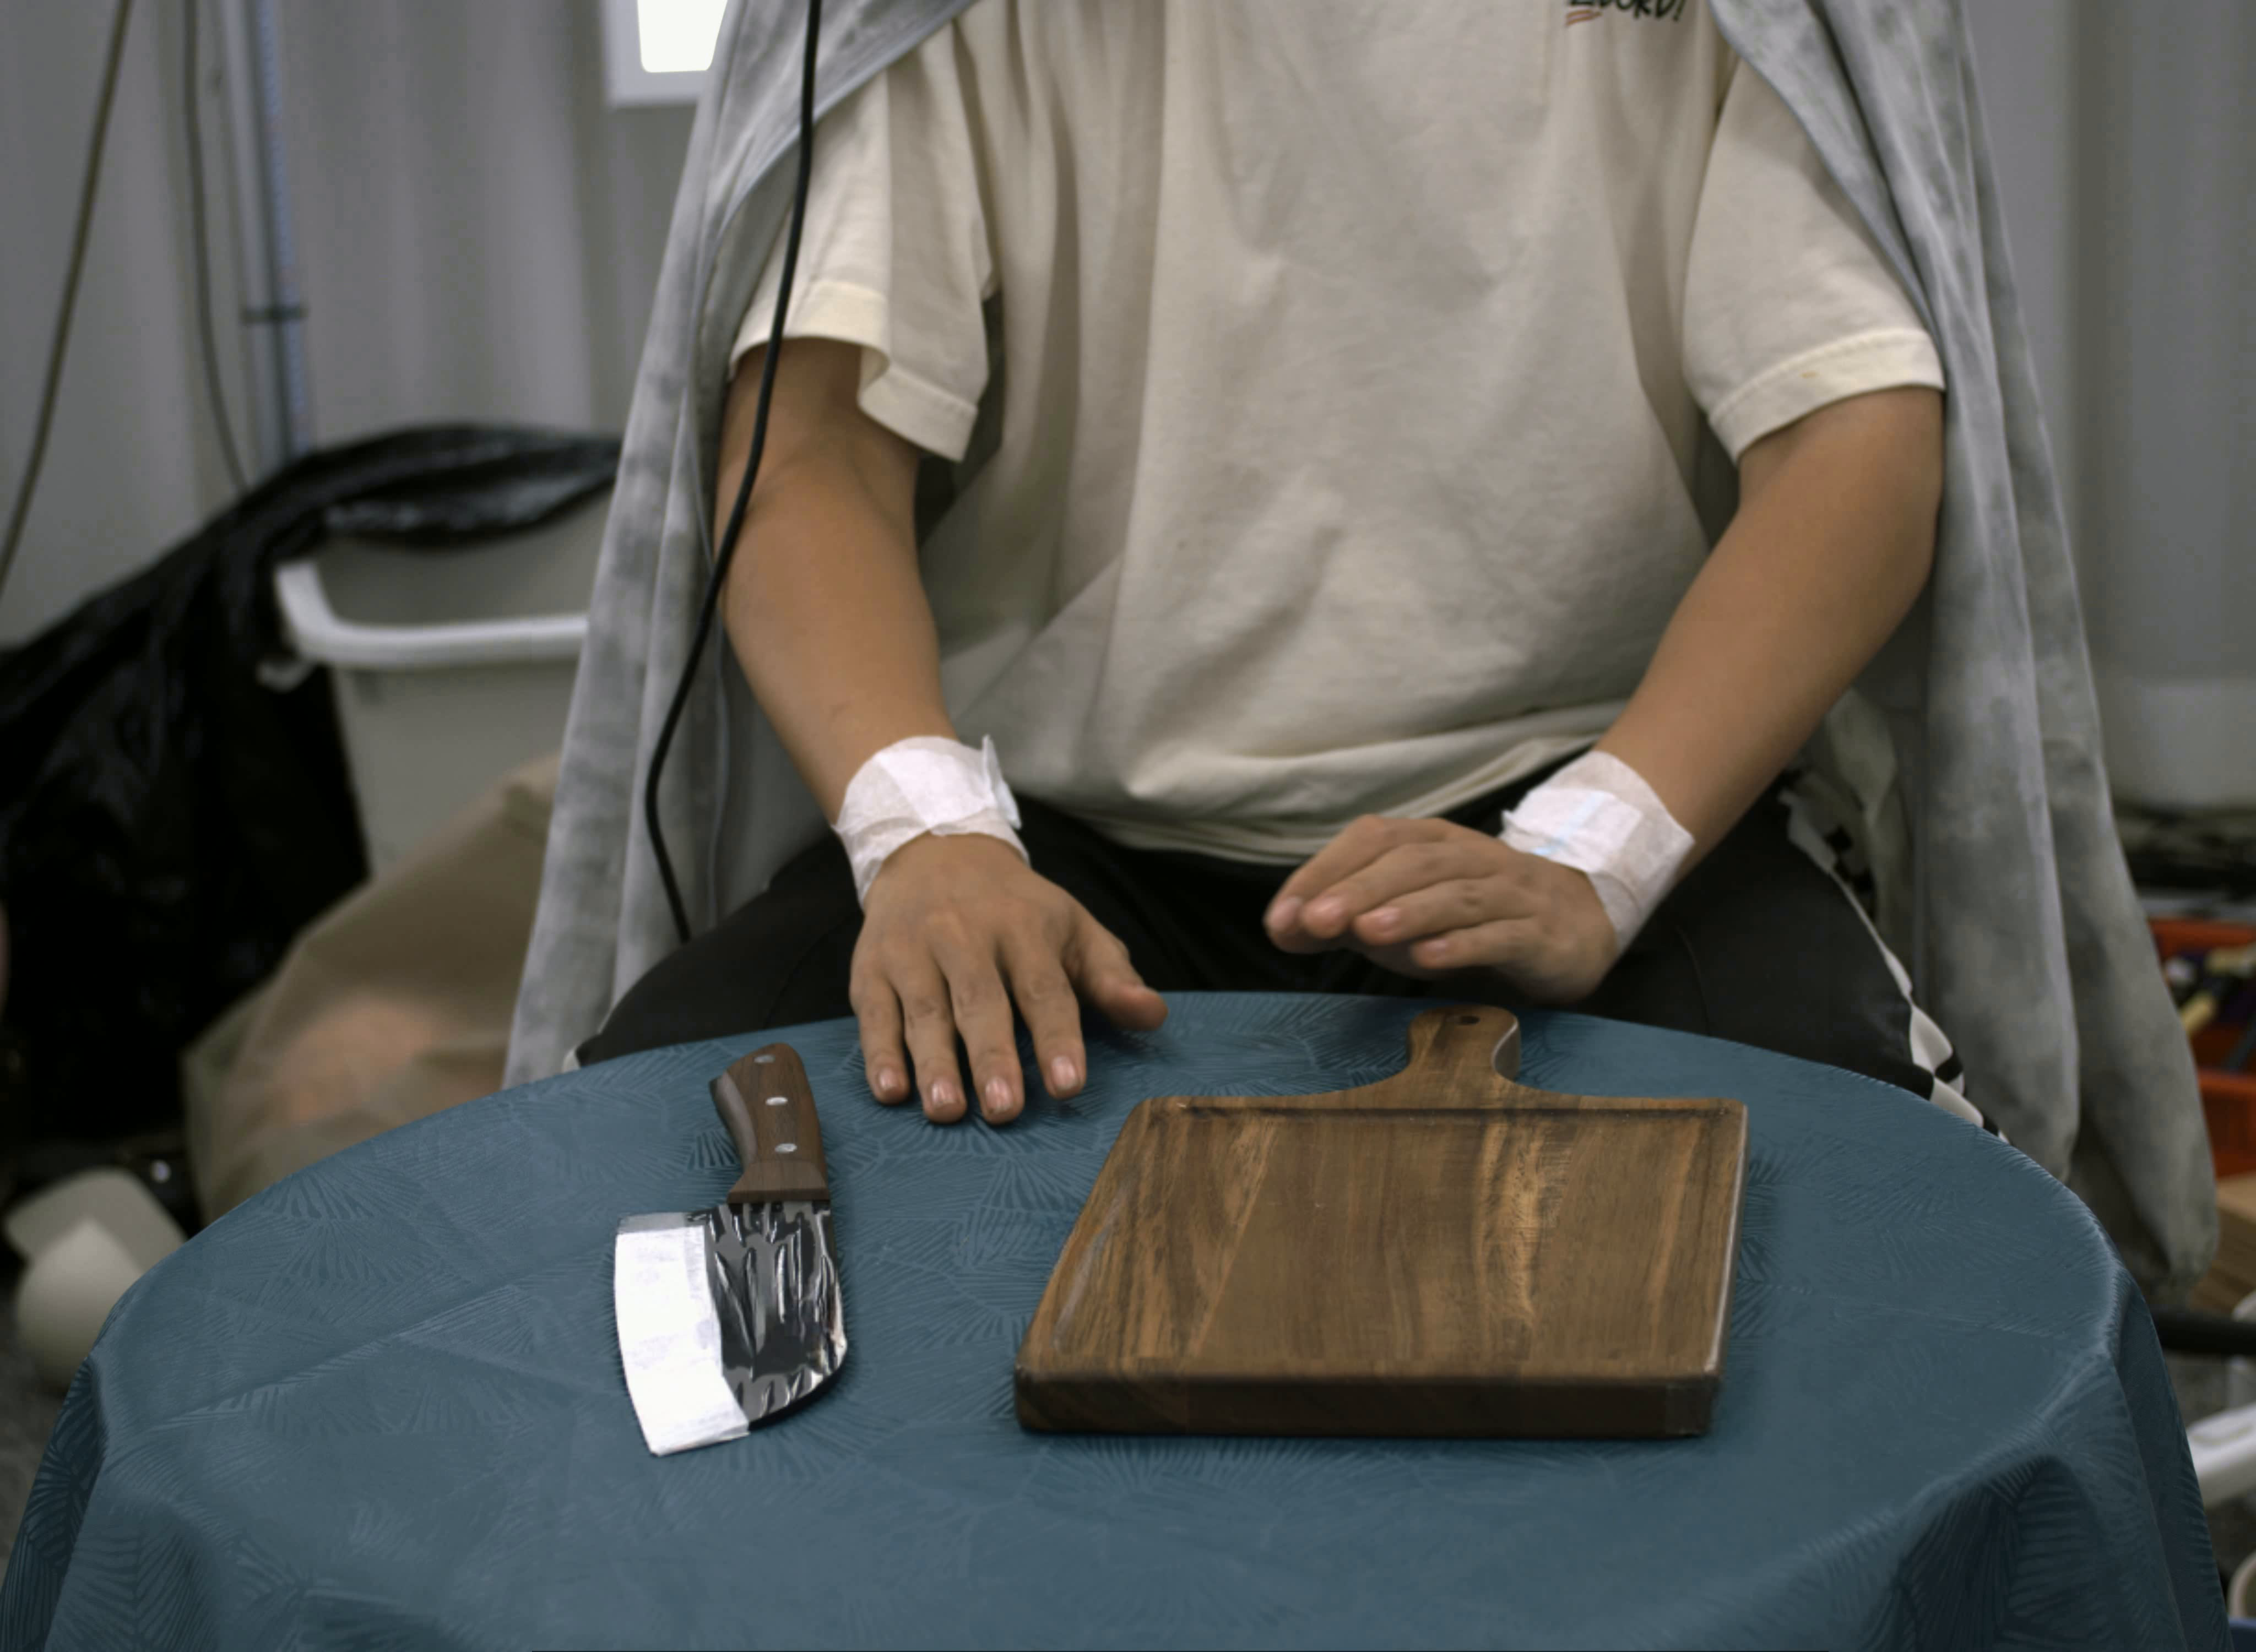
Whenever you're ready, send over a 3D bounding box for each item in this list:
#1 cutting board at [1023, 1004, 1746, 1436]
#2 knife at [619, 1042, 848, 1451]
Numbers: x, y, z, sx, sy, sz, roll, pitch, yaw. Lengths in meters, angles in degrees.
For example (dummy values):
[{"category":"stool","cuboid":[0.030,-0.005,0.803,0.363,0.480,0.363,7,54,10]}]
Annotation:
[{"category":"cutting board","cuboid":[0.089,0.114,1.666,0.200,0.023,0.354,-1,15,8]},{"category":"knife","cuboid":[-0.121,0.127,1.661,0.068,0.024,0.302,-5,18,-3]}]
